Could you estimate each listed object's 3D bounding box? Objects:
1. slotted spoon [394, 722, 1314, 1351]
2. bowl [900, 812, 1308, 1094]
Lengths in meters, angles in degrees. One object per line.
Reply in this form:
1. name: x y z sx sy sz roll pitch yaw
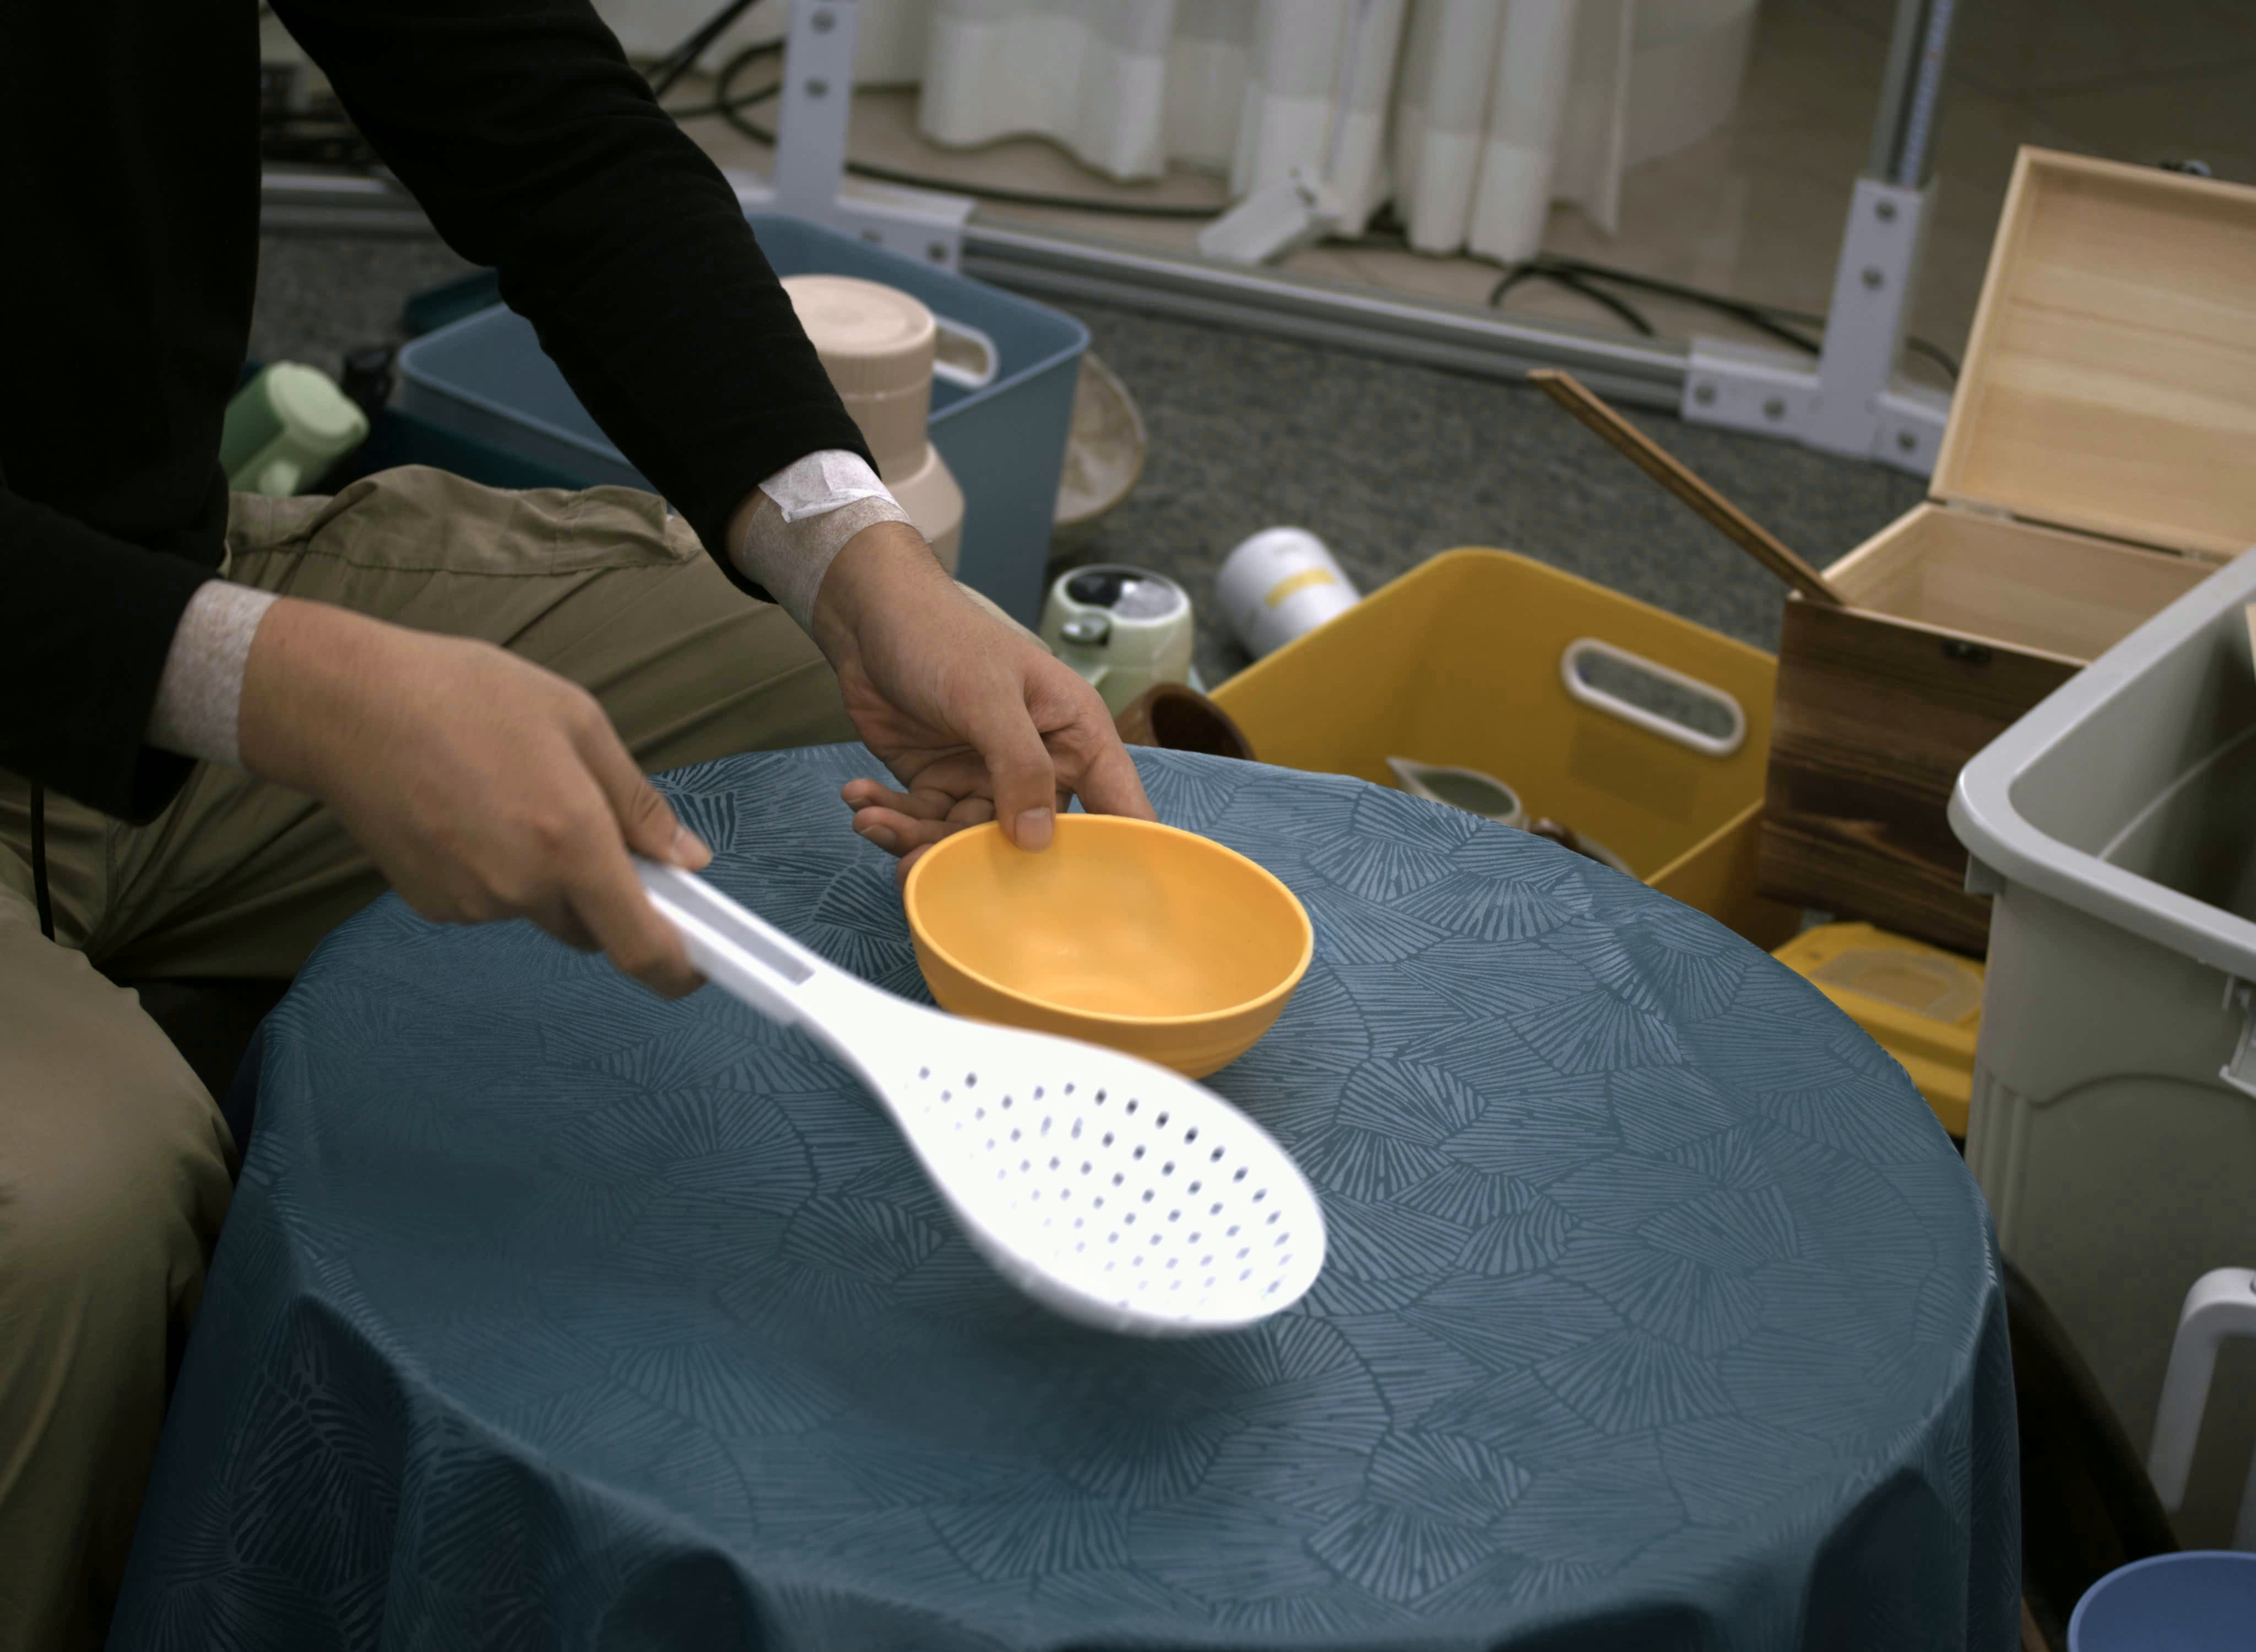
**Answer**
1. slotted spoon: -0.095 0.065 1.715 0.351 0.045 0.136 37 33 12
2. bowl: -0.013 0.056 1.868 0.145 0.060 0.146 8 28 -4
